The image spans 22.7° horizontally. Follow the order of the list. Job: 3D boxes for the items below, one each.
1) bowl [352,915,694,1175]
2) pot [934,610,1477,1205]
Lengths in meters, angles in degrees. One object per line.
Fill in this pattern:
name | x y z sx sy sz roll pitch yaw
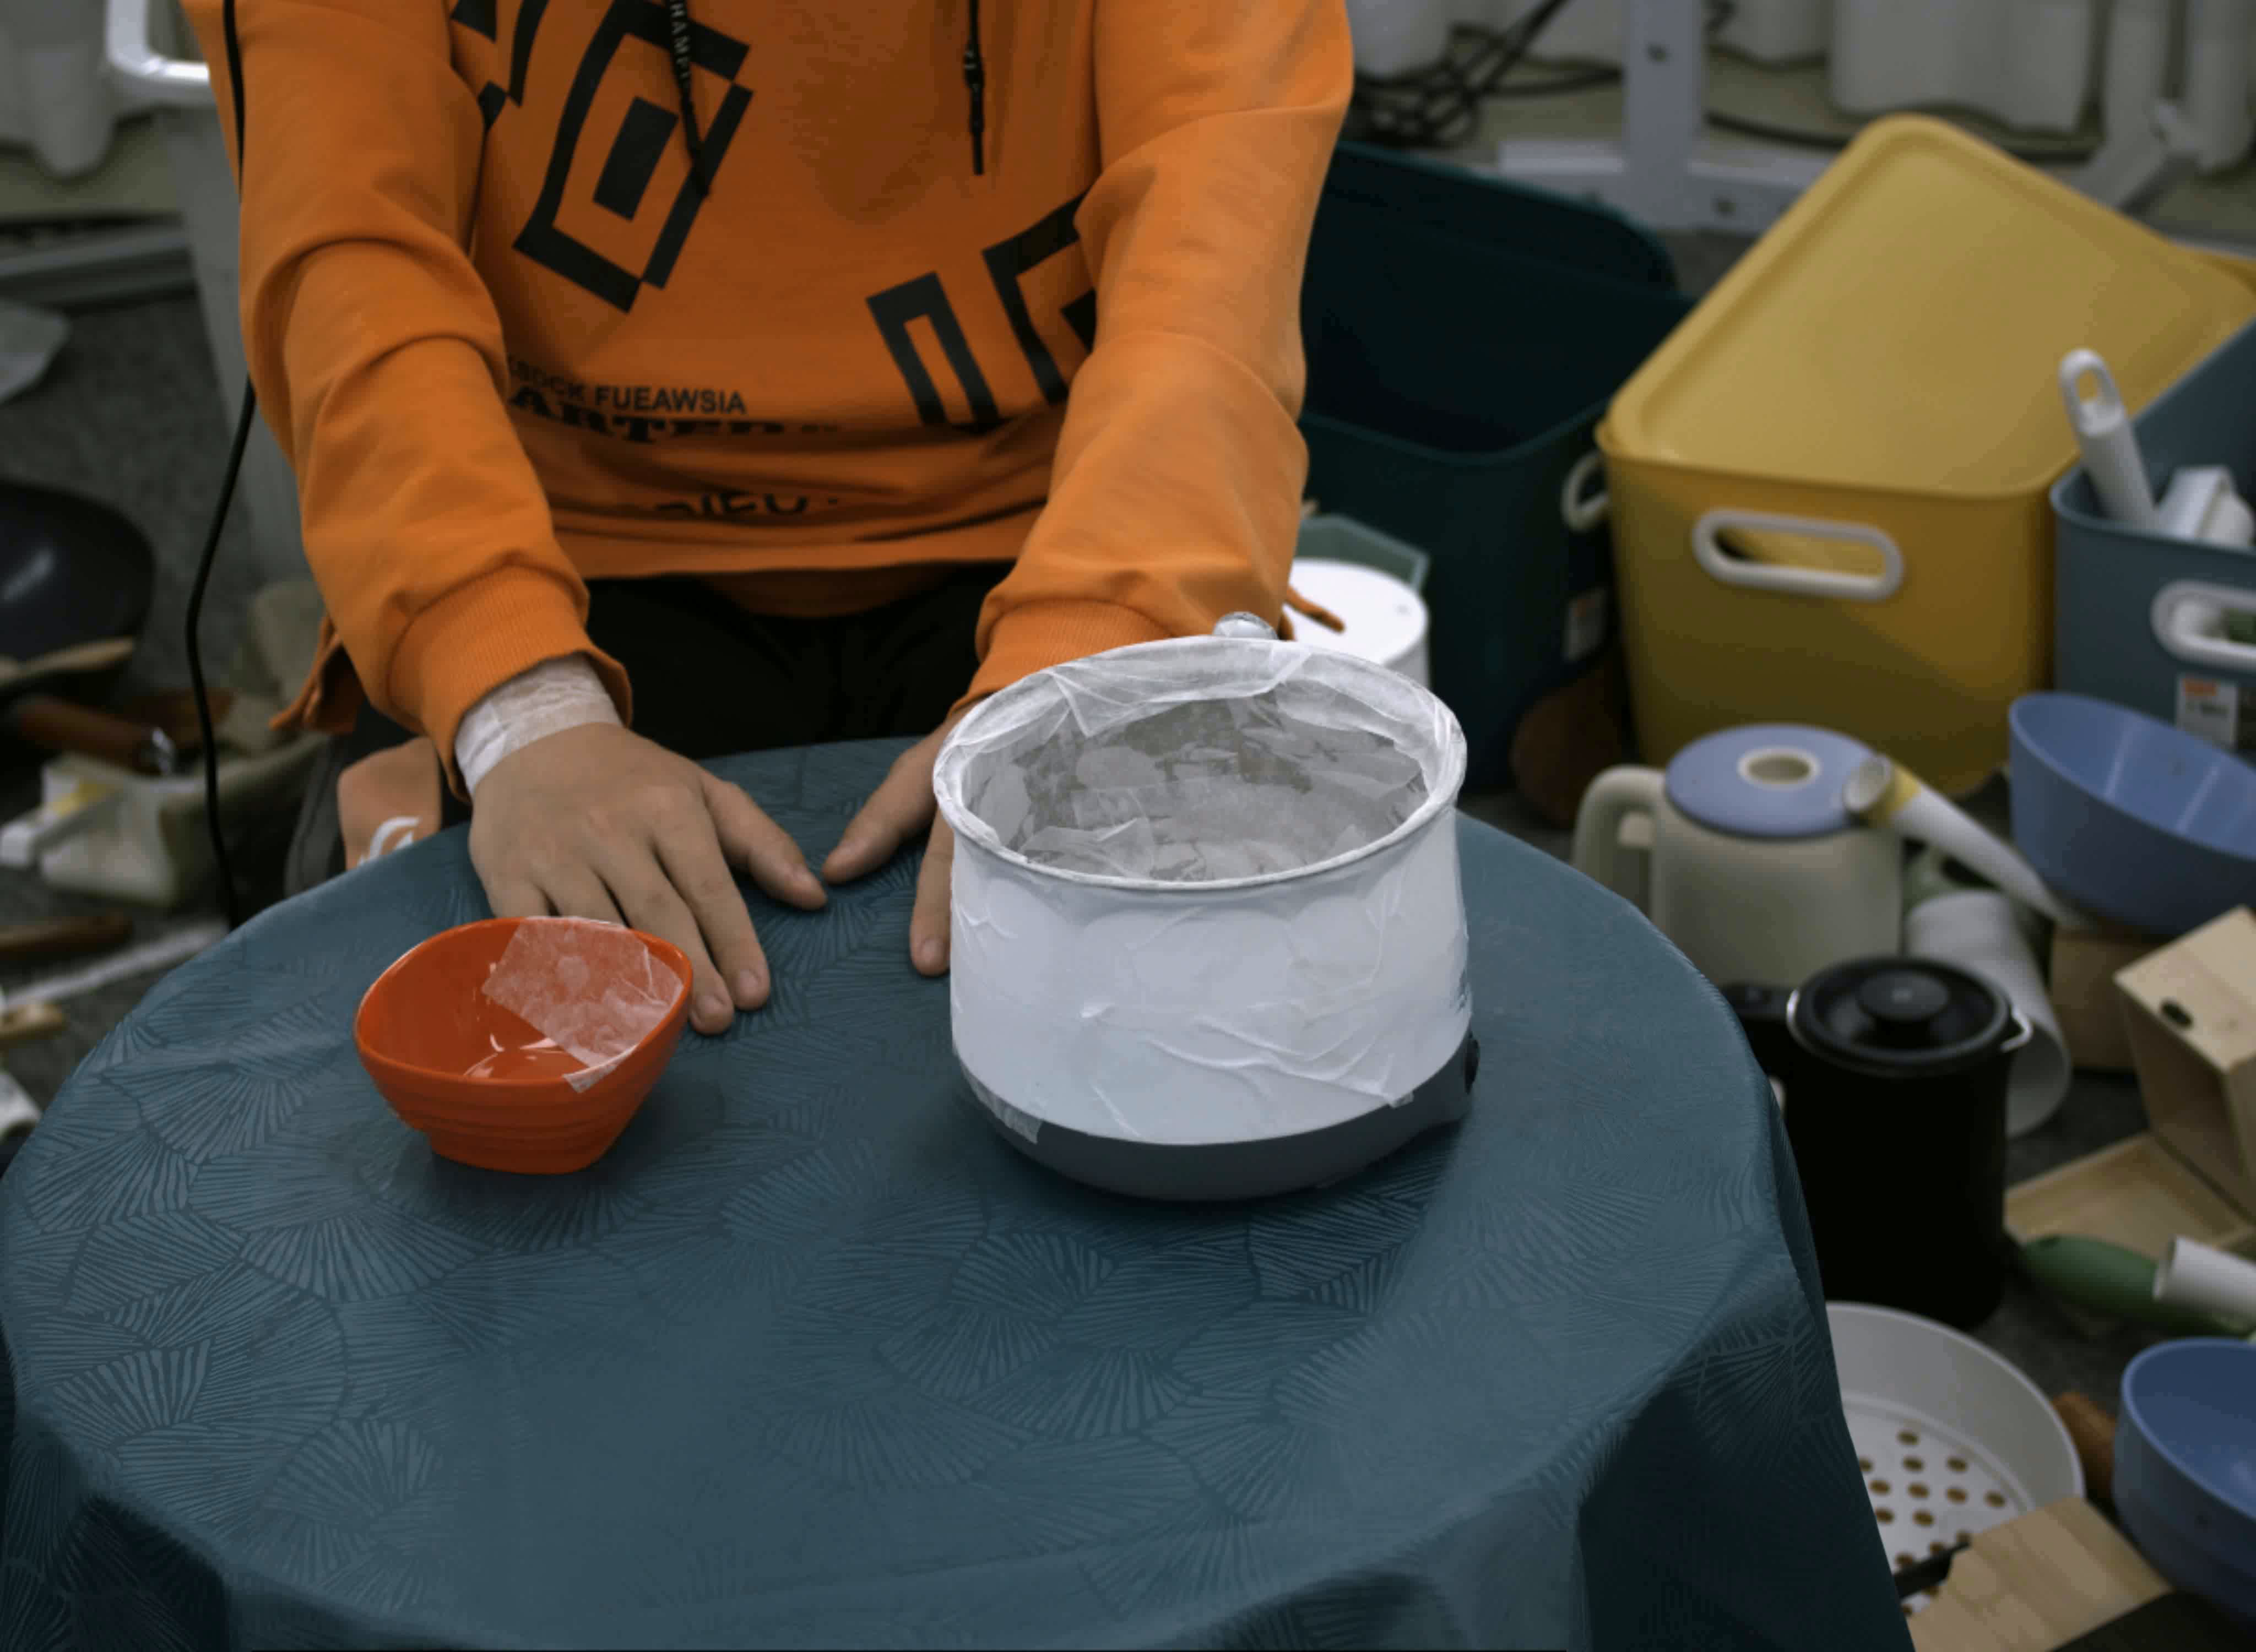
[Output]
bowl | -0.202 0.079 1.909 0.118 0.051 0.121 -3 28 2
pot | 0.030 0.020 1.907 0.177 0.135 0.237 1 28 7
